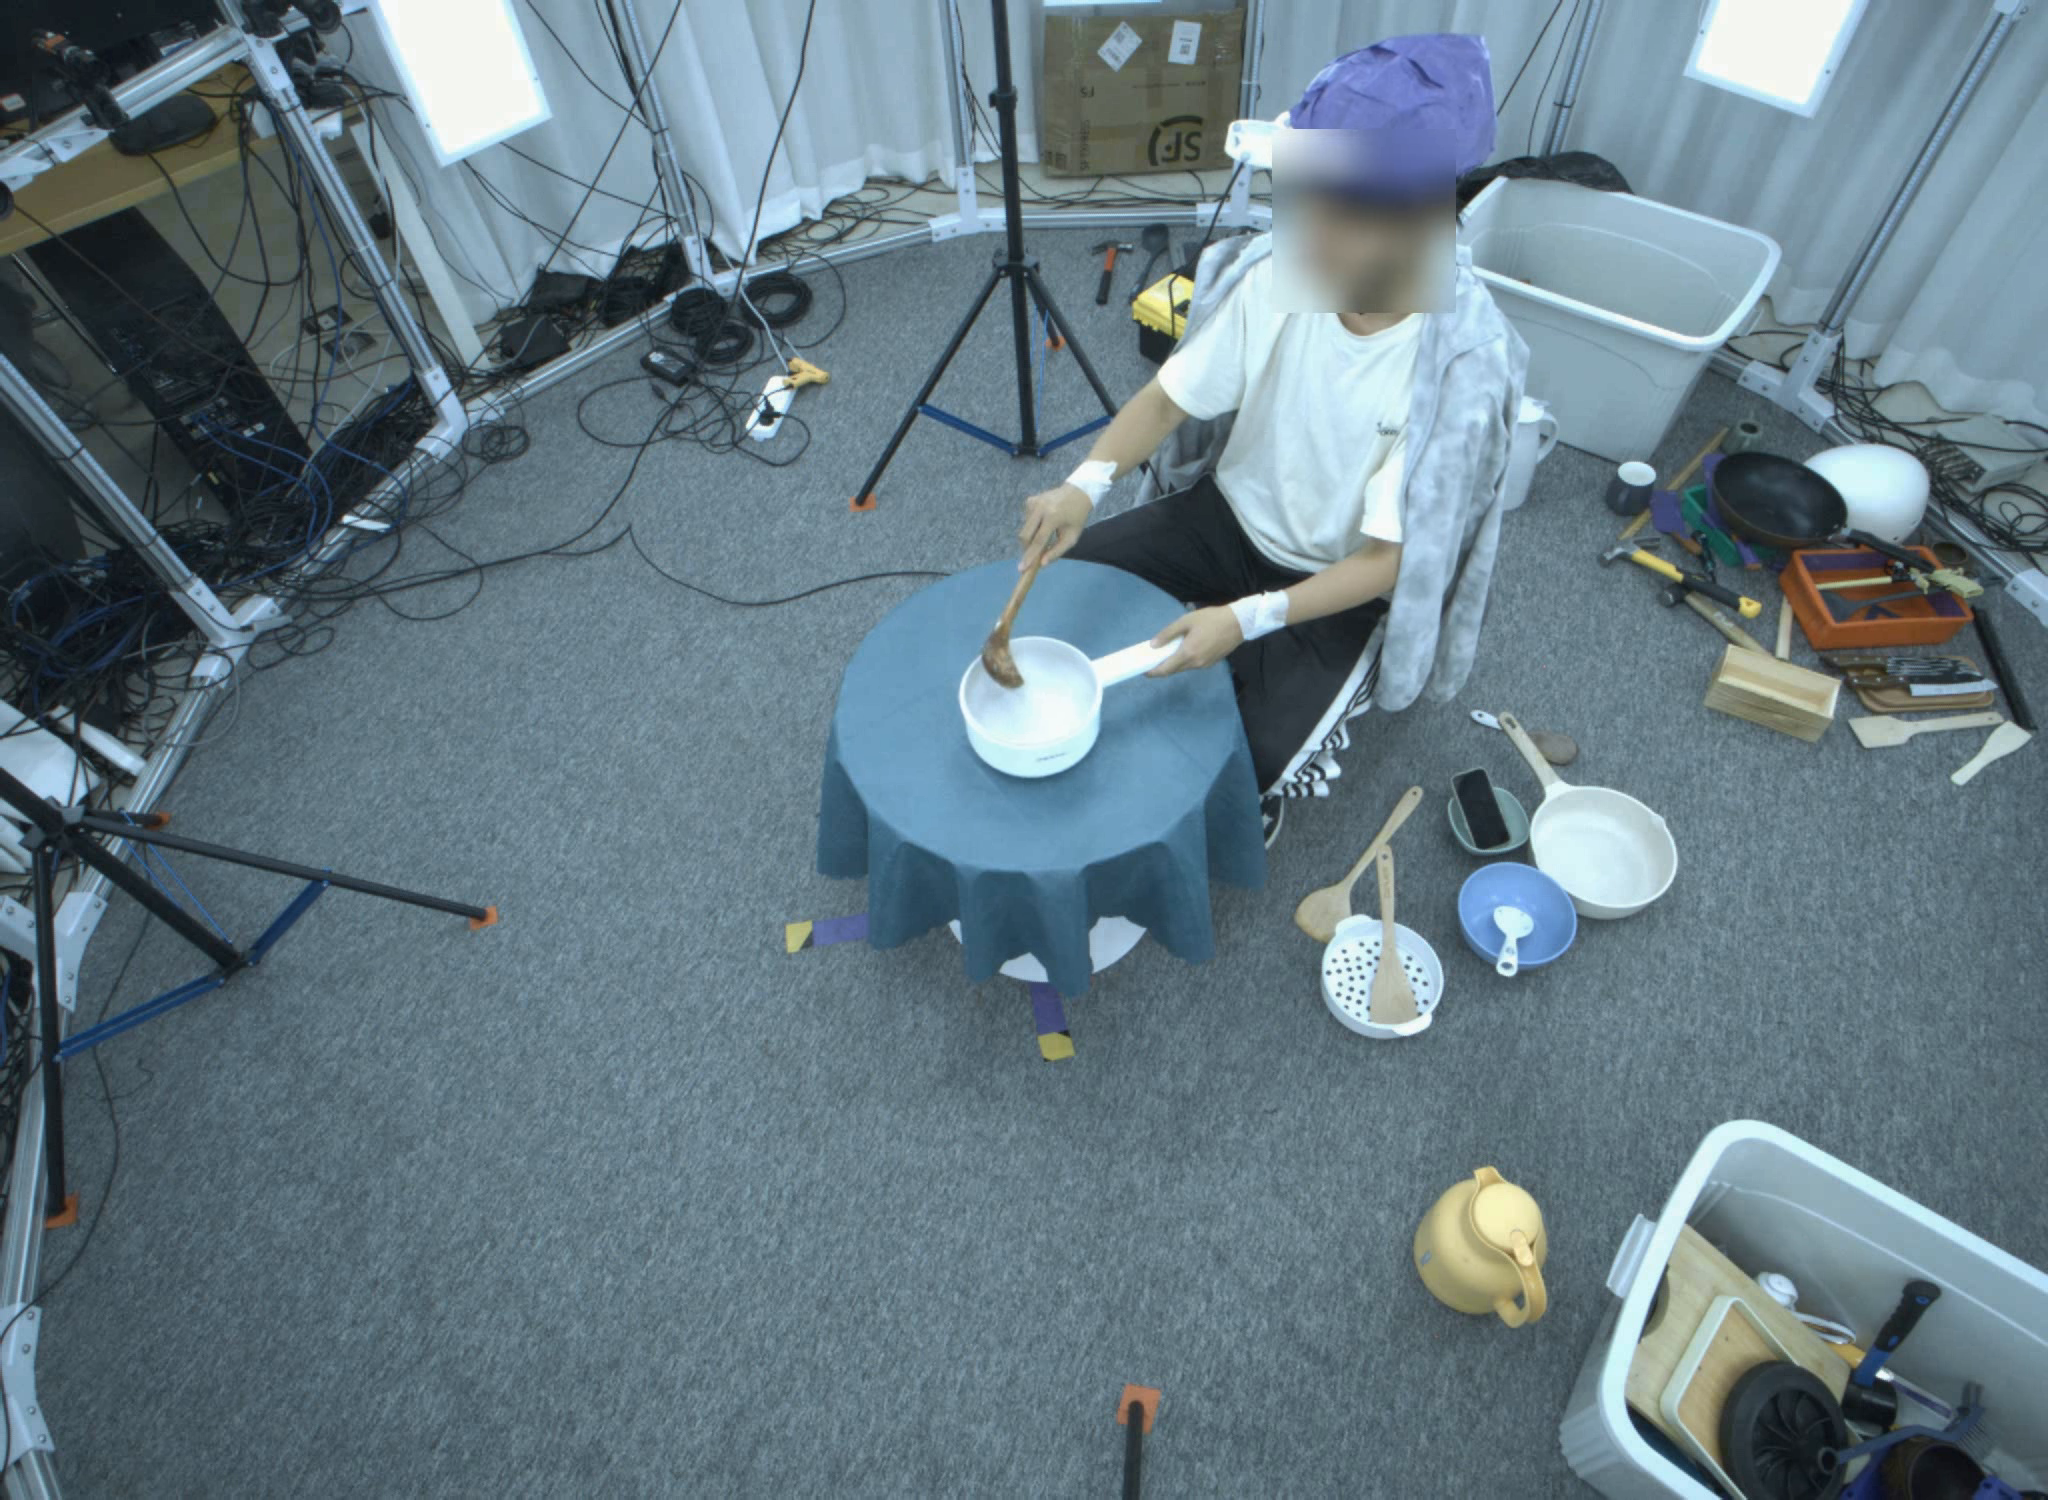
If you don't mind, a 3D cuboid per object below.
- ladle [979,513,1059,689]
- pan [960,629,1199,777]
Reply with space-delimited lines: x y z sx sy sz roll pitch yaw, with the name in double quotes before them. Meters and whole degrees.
"ladle" 0.010 -0.215 1.746 0.075 0.083 0.274 20 78 29
"pan" 0.084 -0.082 1.784 0.357 0.103 0.197 -19 56 -12
